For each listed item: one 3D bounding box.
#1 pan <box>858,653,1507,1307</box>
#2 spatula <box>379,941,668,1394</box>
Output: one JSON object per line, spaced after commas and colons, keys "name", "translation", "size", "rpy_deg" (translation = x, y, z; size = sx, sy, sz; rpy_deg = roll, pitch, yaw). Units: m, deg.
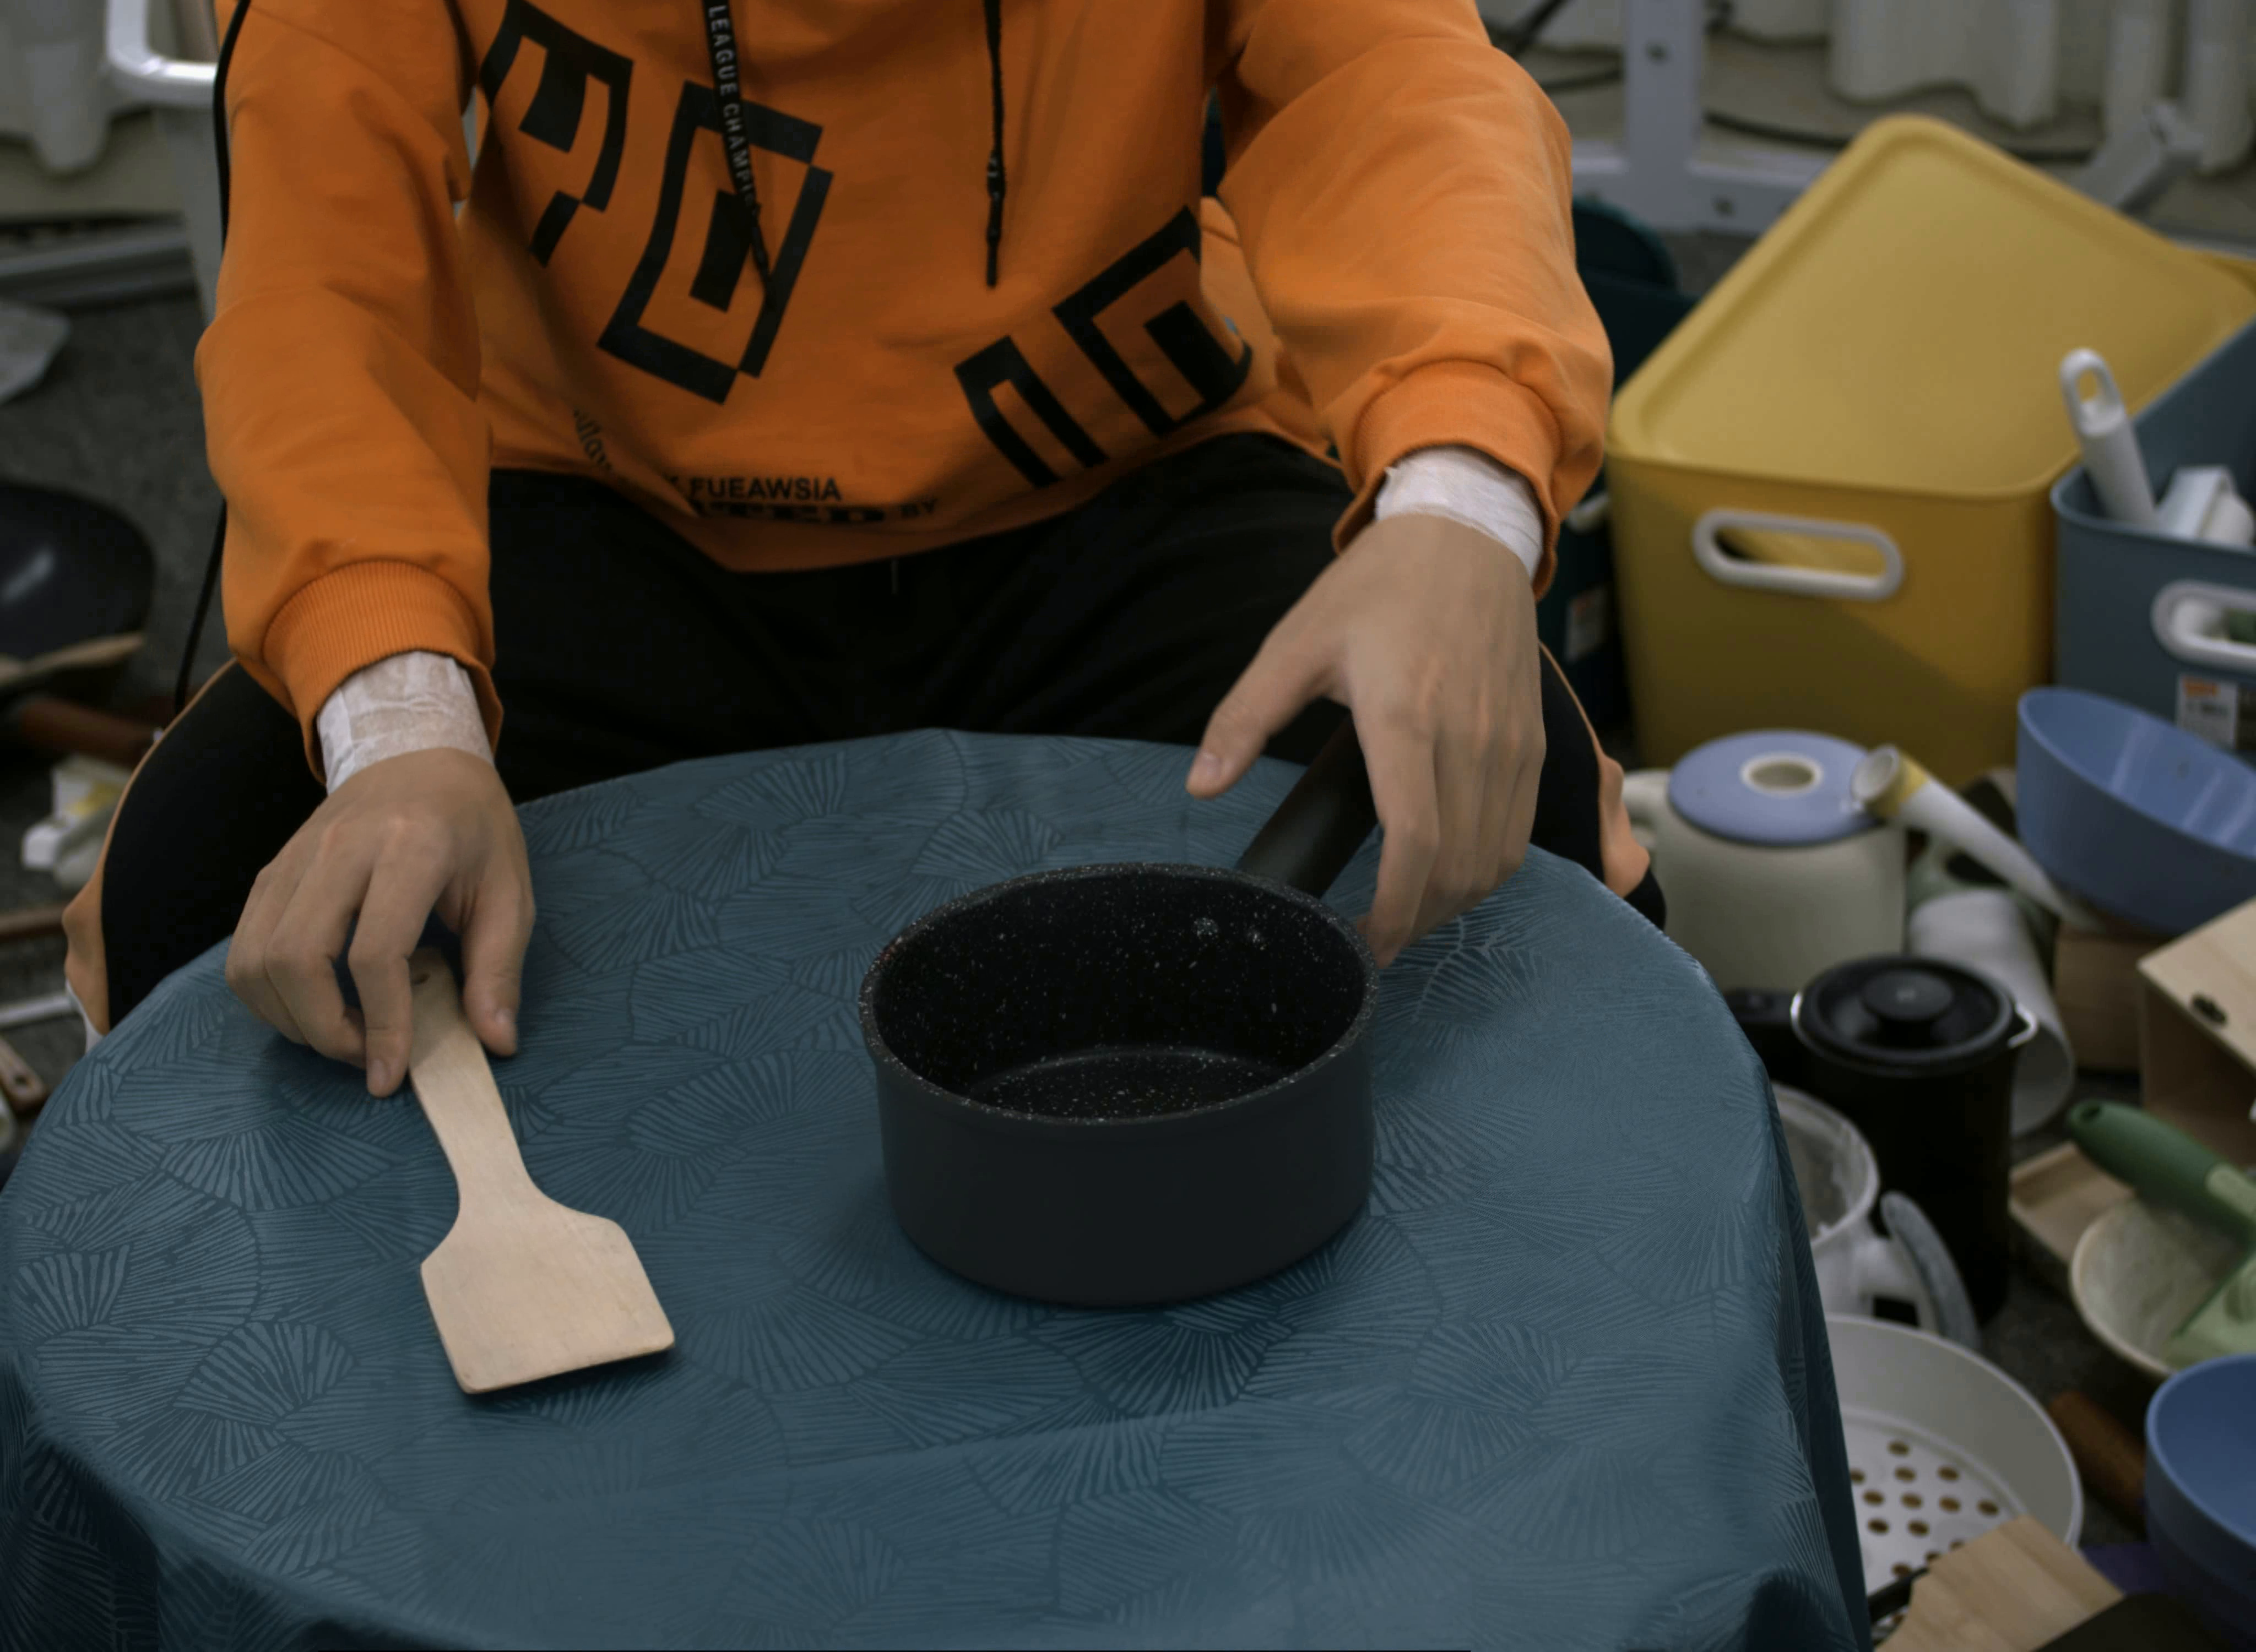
{"name": "pan", "translation": [0.039, 0.048, 1.910], "size": [0.171, 0.085, 0.334], "rpy_deg": [14, 33, 27]}
{"name": "spatula", "translation": [-0.219, 0.110, 1.896], "size": [0.072, 0.010, 0.296], "rpy_deg": [-13, 29, -11]}
